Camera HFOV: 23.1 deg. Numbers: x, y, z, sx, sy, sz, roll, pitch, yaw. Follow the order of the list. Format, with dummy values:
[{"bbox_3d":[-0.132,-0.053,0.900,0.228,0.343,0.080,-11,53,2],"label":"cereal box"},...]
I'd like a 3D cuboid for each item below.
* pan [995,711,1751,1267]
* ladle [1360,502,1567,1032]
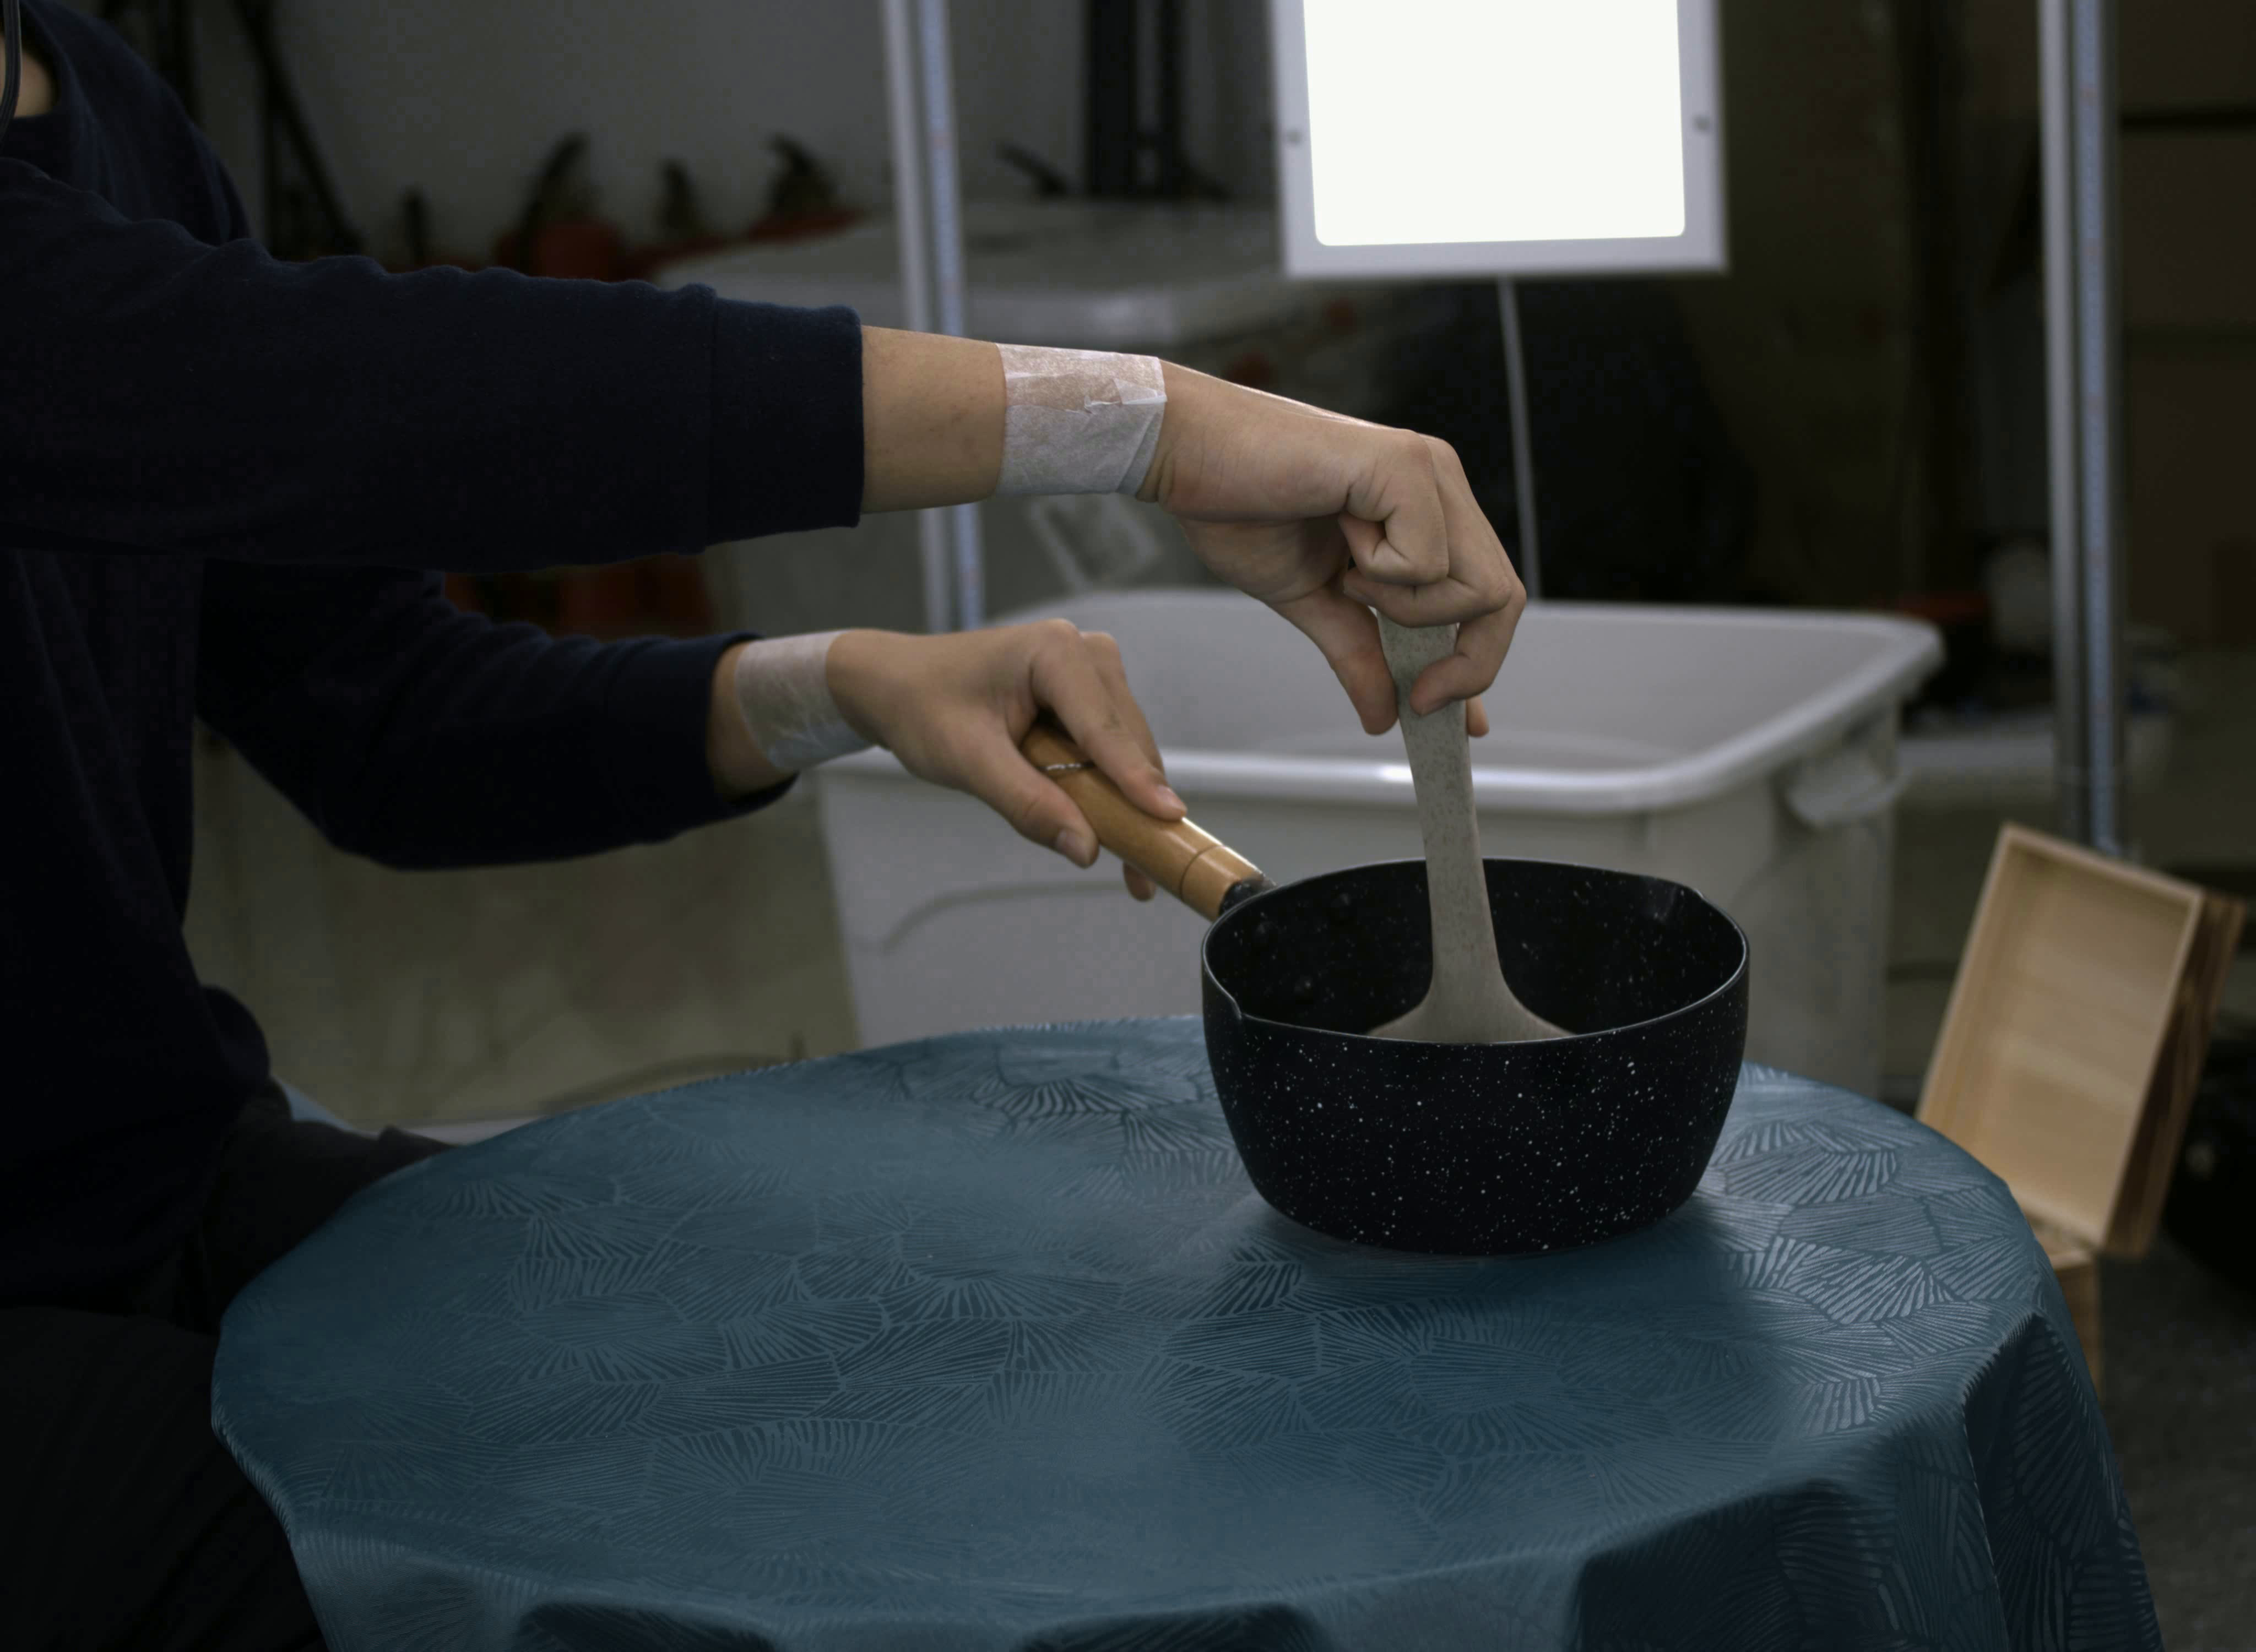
[{"bbox_3d":[0.065,0.050,1.903,0.202,0.109,0.349,-18,25,-36],"label":"pan"},{"bbox_3d":[0.109,-0.012,1.813,0.090,0.275,0.068,6,40,21],"label":"ladle"}]
